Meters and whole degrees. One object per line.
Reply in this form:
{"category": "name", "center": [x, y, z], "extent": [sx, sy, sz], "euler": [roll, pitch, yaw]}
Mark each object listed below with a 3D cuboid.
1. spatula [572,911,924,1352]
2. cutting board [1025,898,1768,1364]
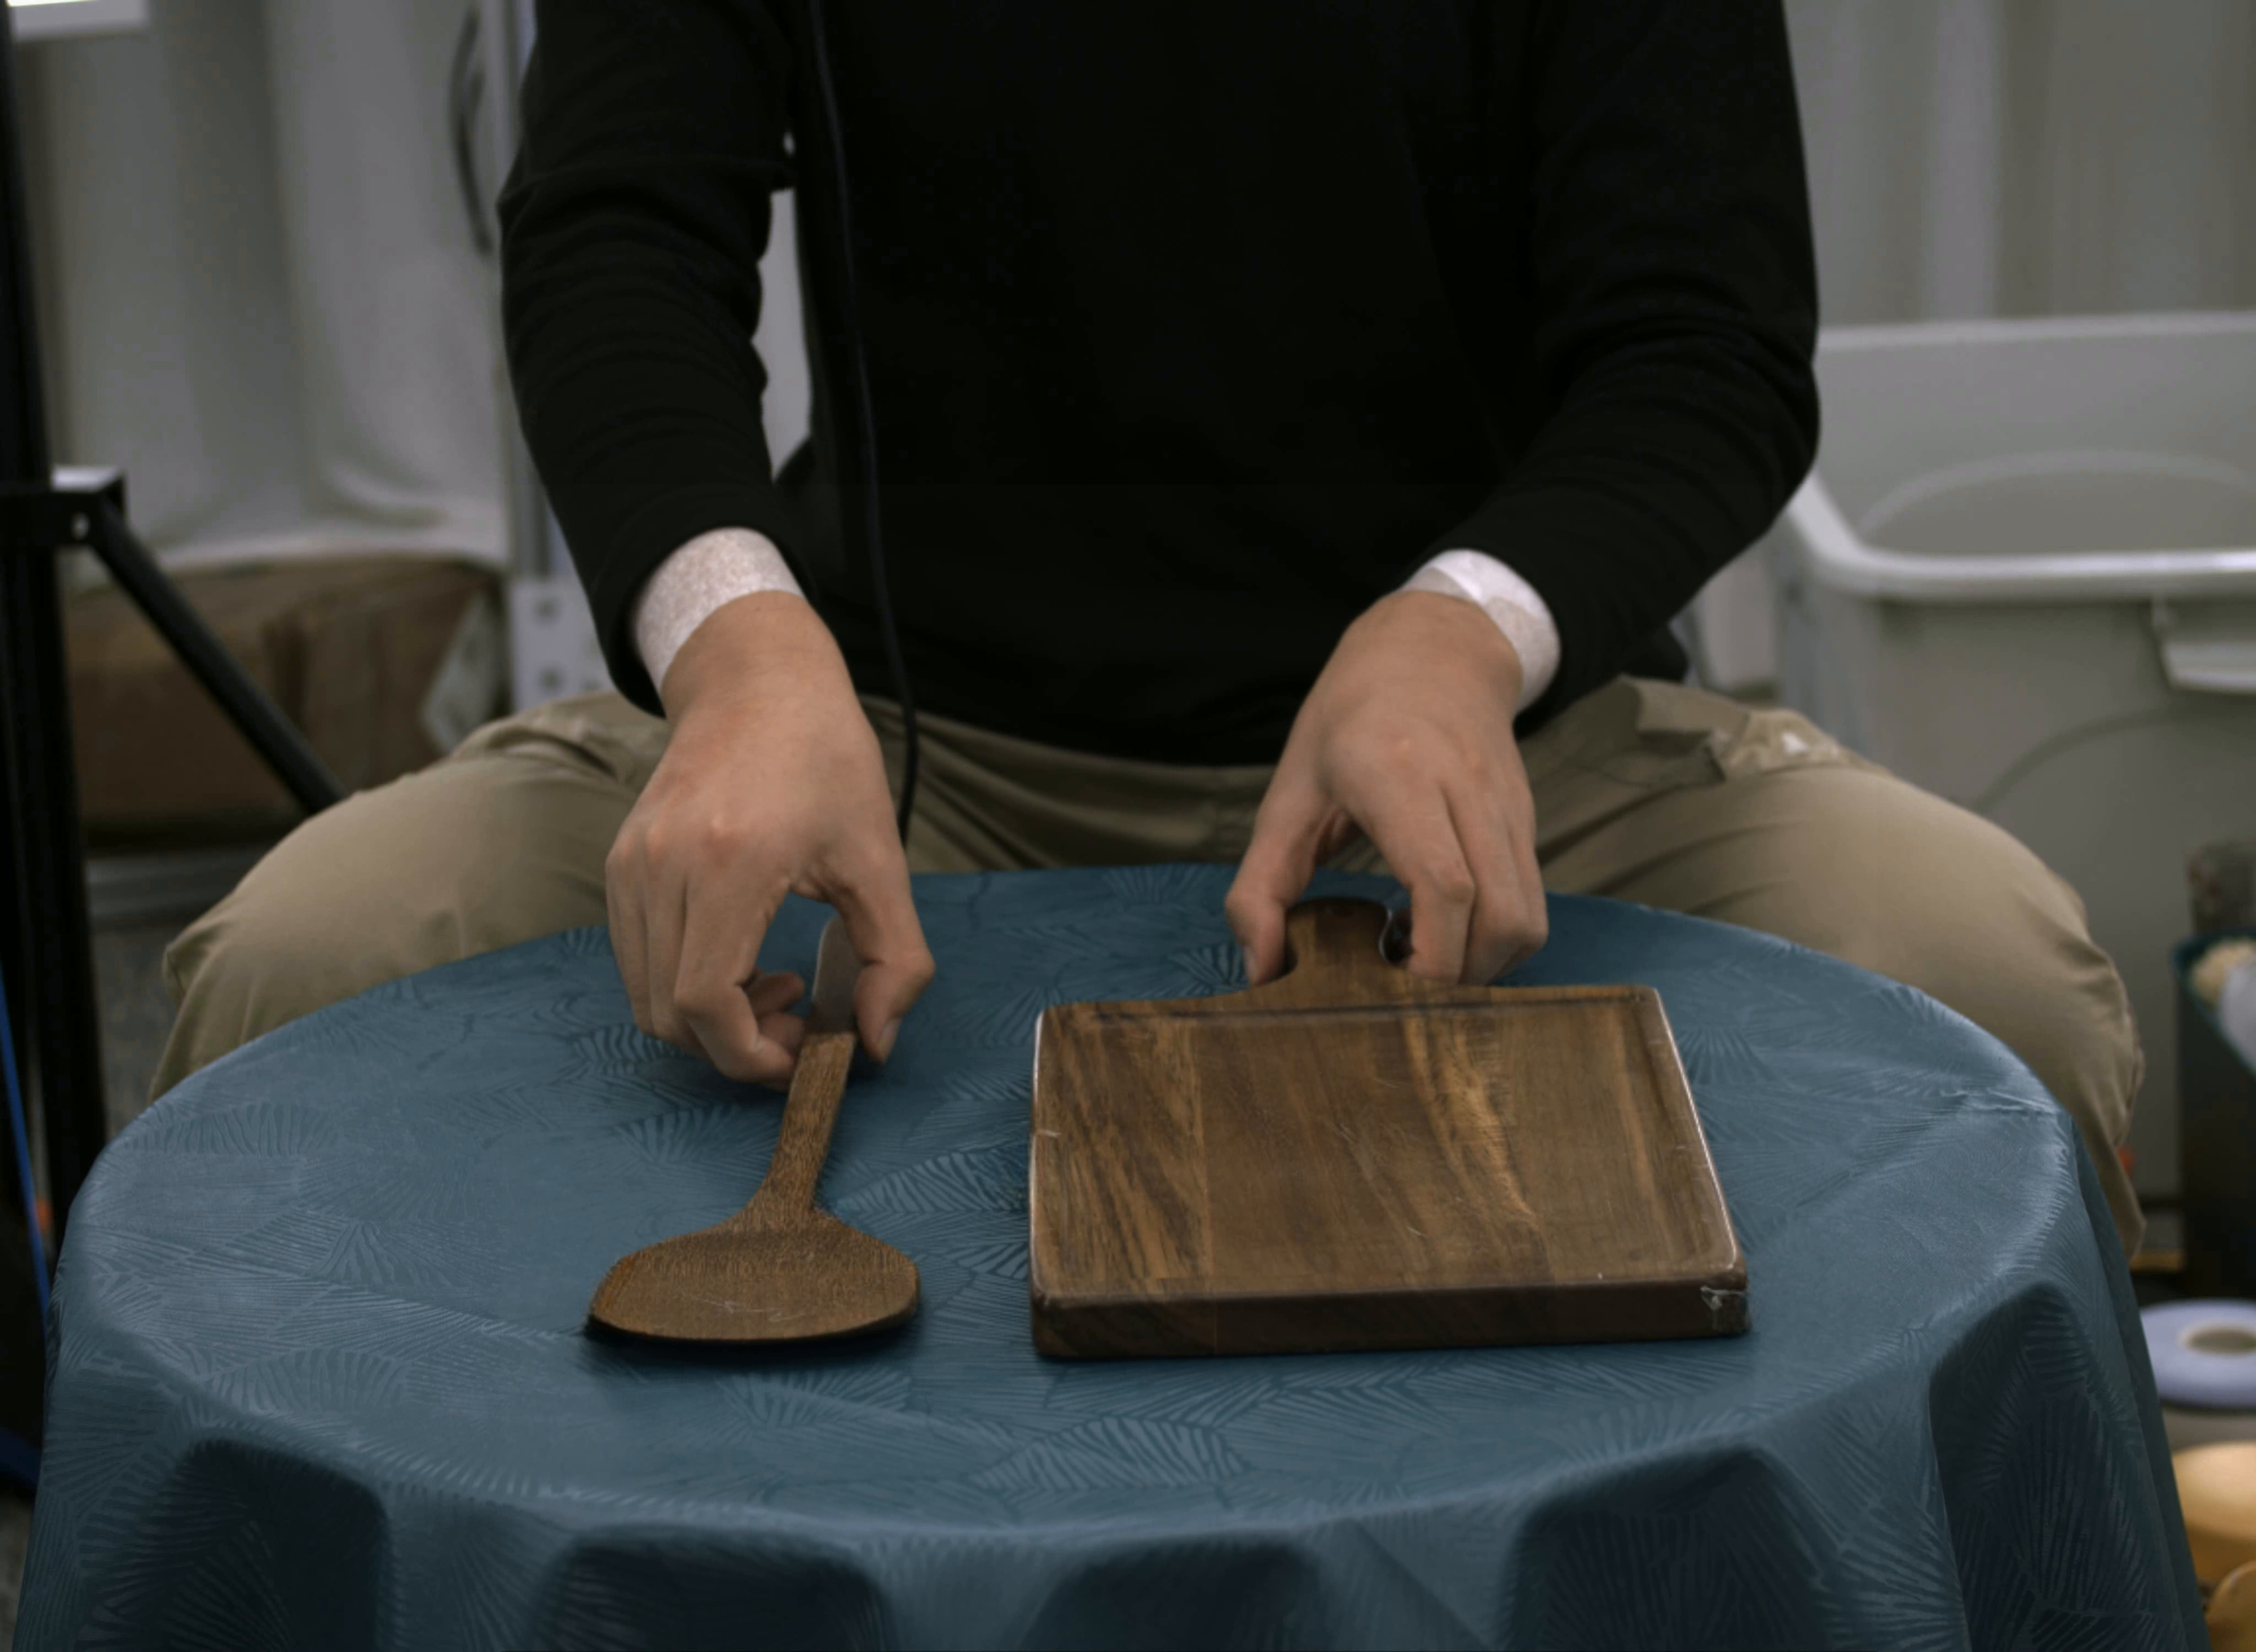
{"category": "spatula", "center": [-0.096, 0.085, 1.616], "extent": [0.096, 0.016, 0.386], "euler": [-1, 17, 3]}
{"category": "cutting board", "center": [0.070, 0.084, 1.587], "extent": [0.200, 0.023, 0.354], "euler": [-2, 16, 0]}
